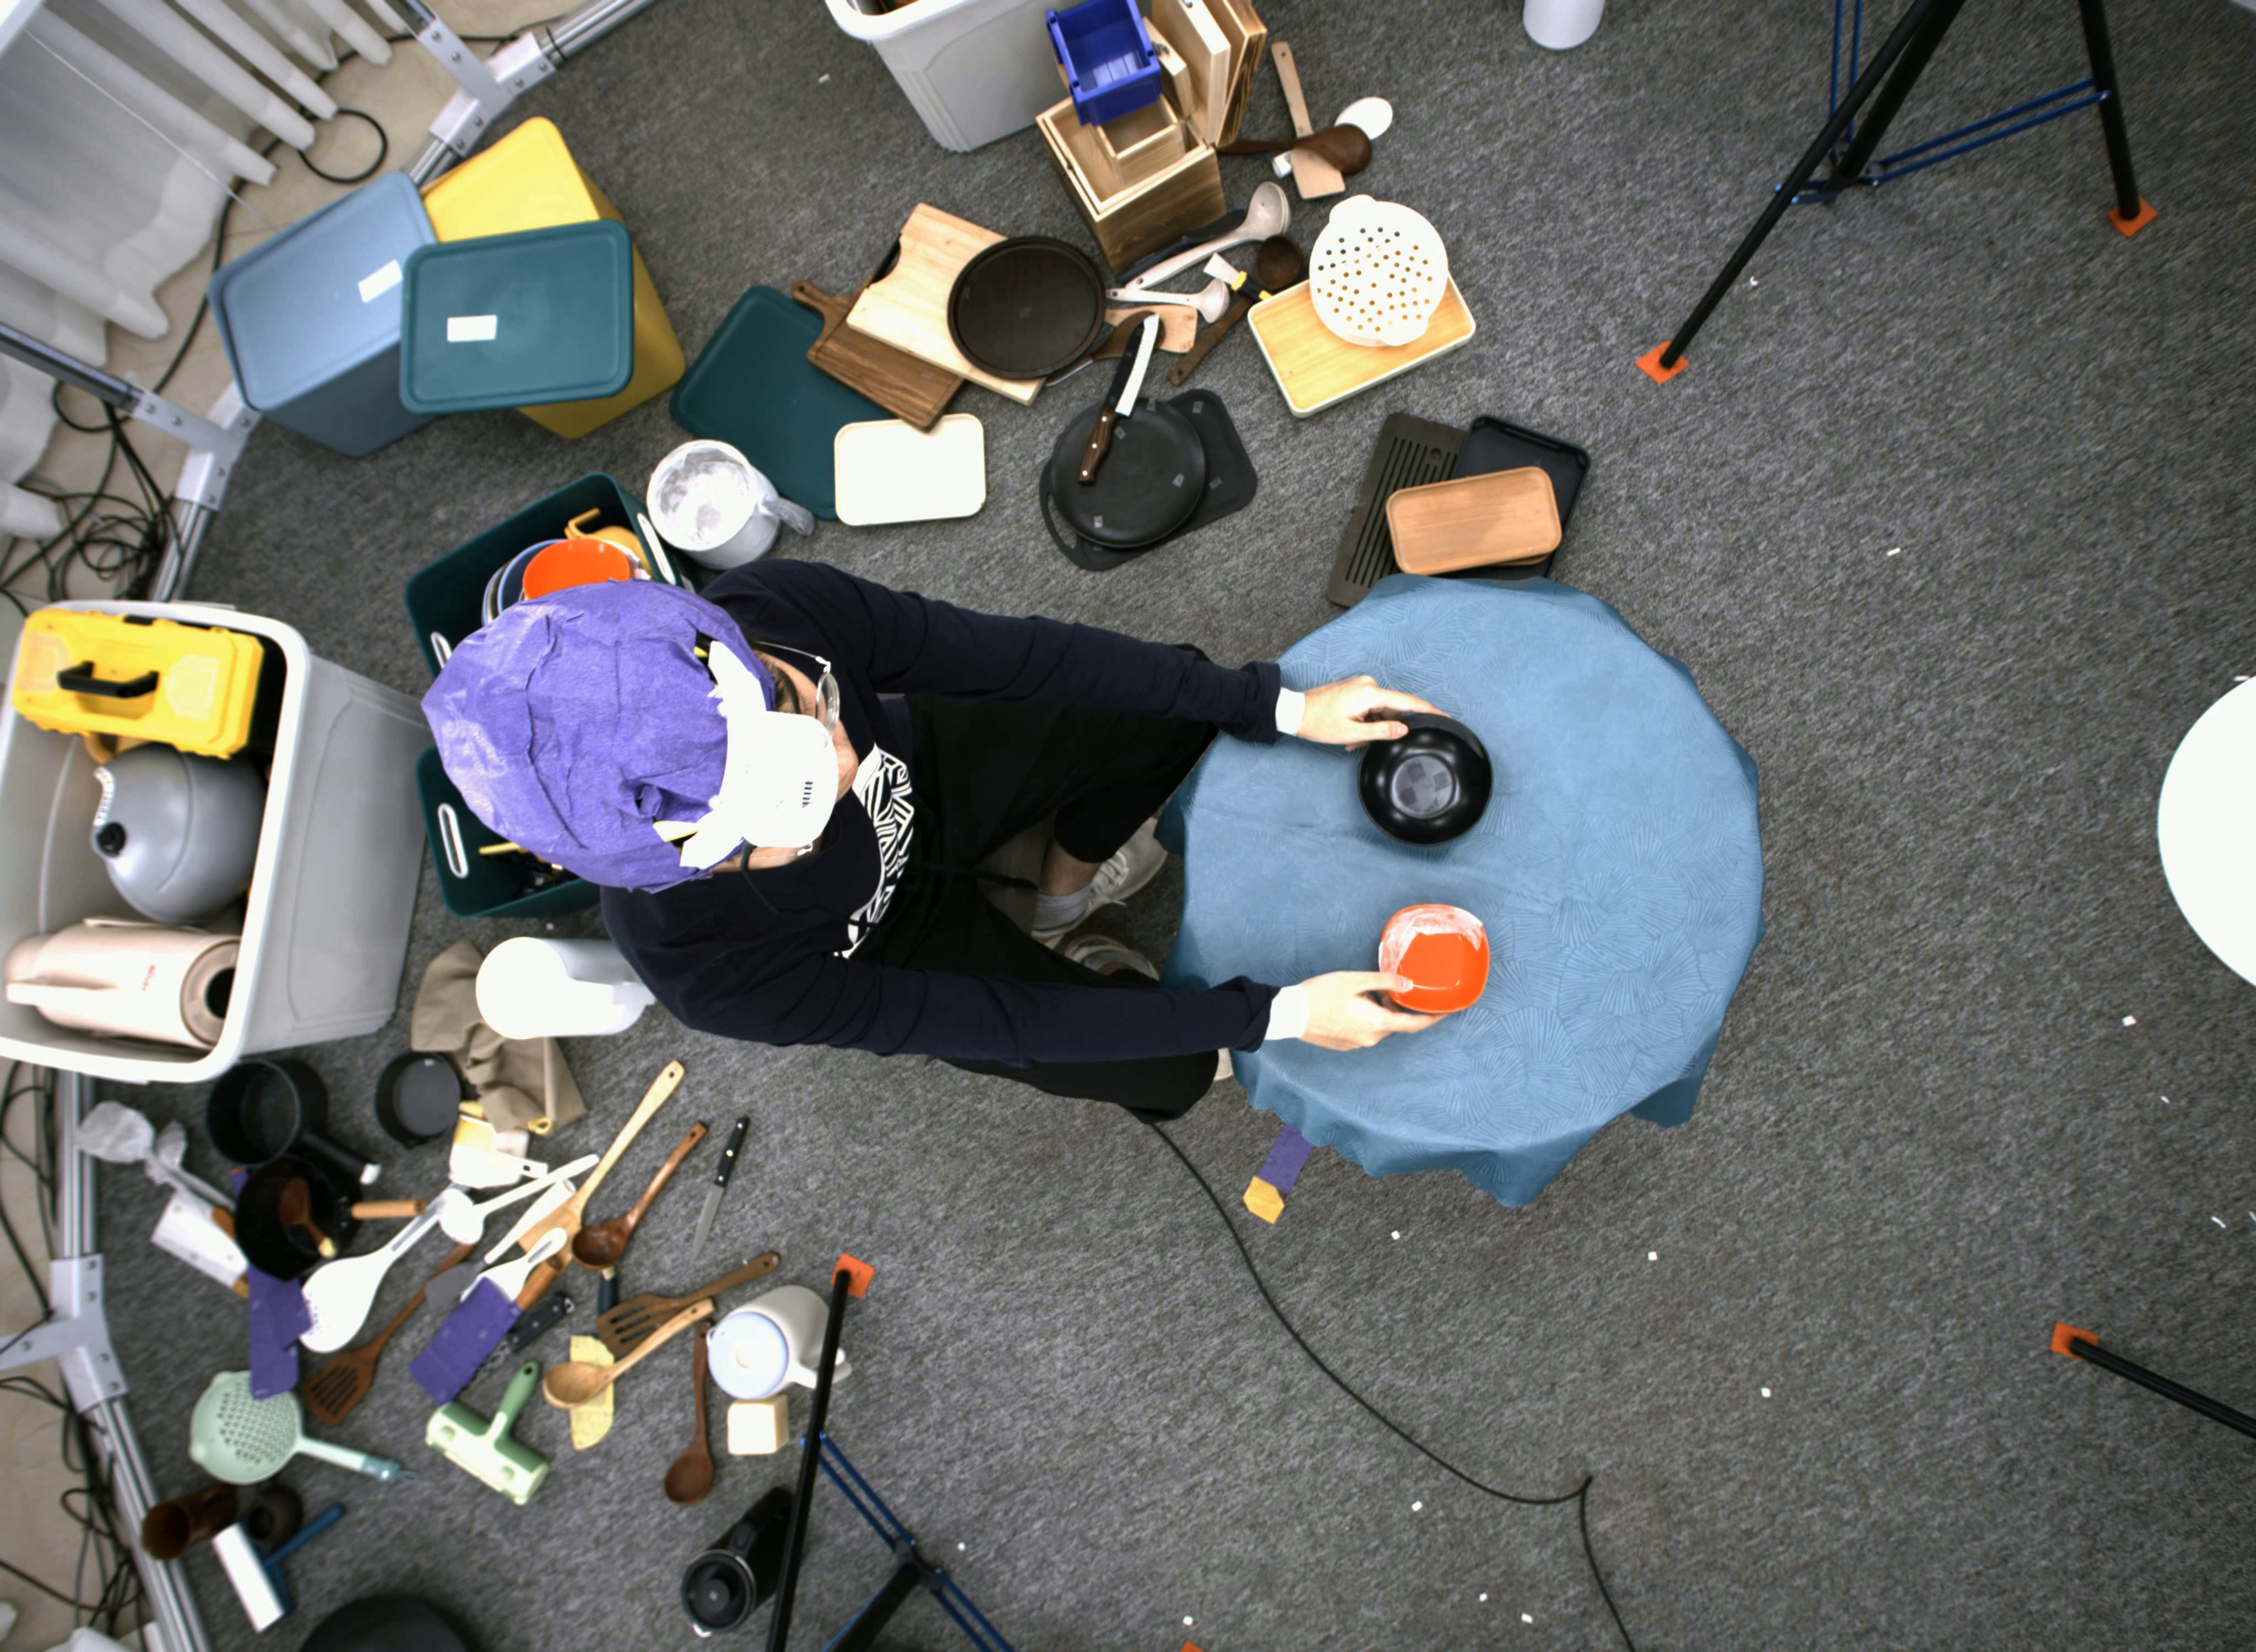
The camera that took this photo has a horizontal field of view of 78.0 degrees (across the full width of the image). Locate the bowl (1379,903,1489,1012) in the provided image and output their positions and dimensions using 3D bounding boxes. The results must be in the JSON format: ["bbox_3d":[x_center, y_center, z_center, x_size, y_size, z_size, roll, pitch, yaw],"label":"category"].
[{"bbox_3d":[0.313,0.134,1.422,0.119,0.051,0.118,-1,87,9],"label":"bowl"}]

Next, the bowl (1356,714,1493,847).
[{"bbox_3d":[0.309,-0.047,1.437,0.141,0.050,0.139,-1,86,14],"label":"bowl"}]
